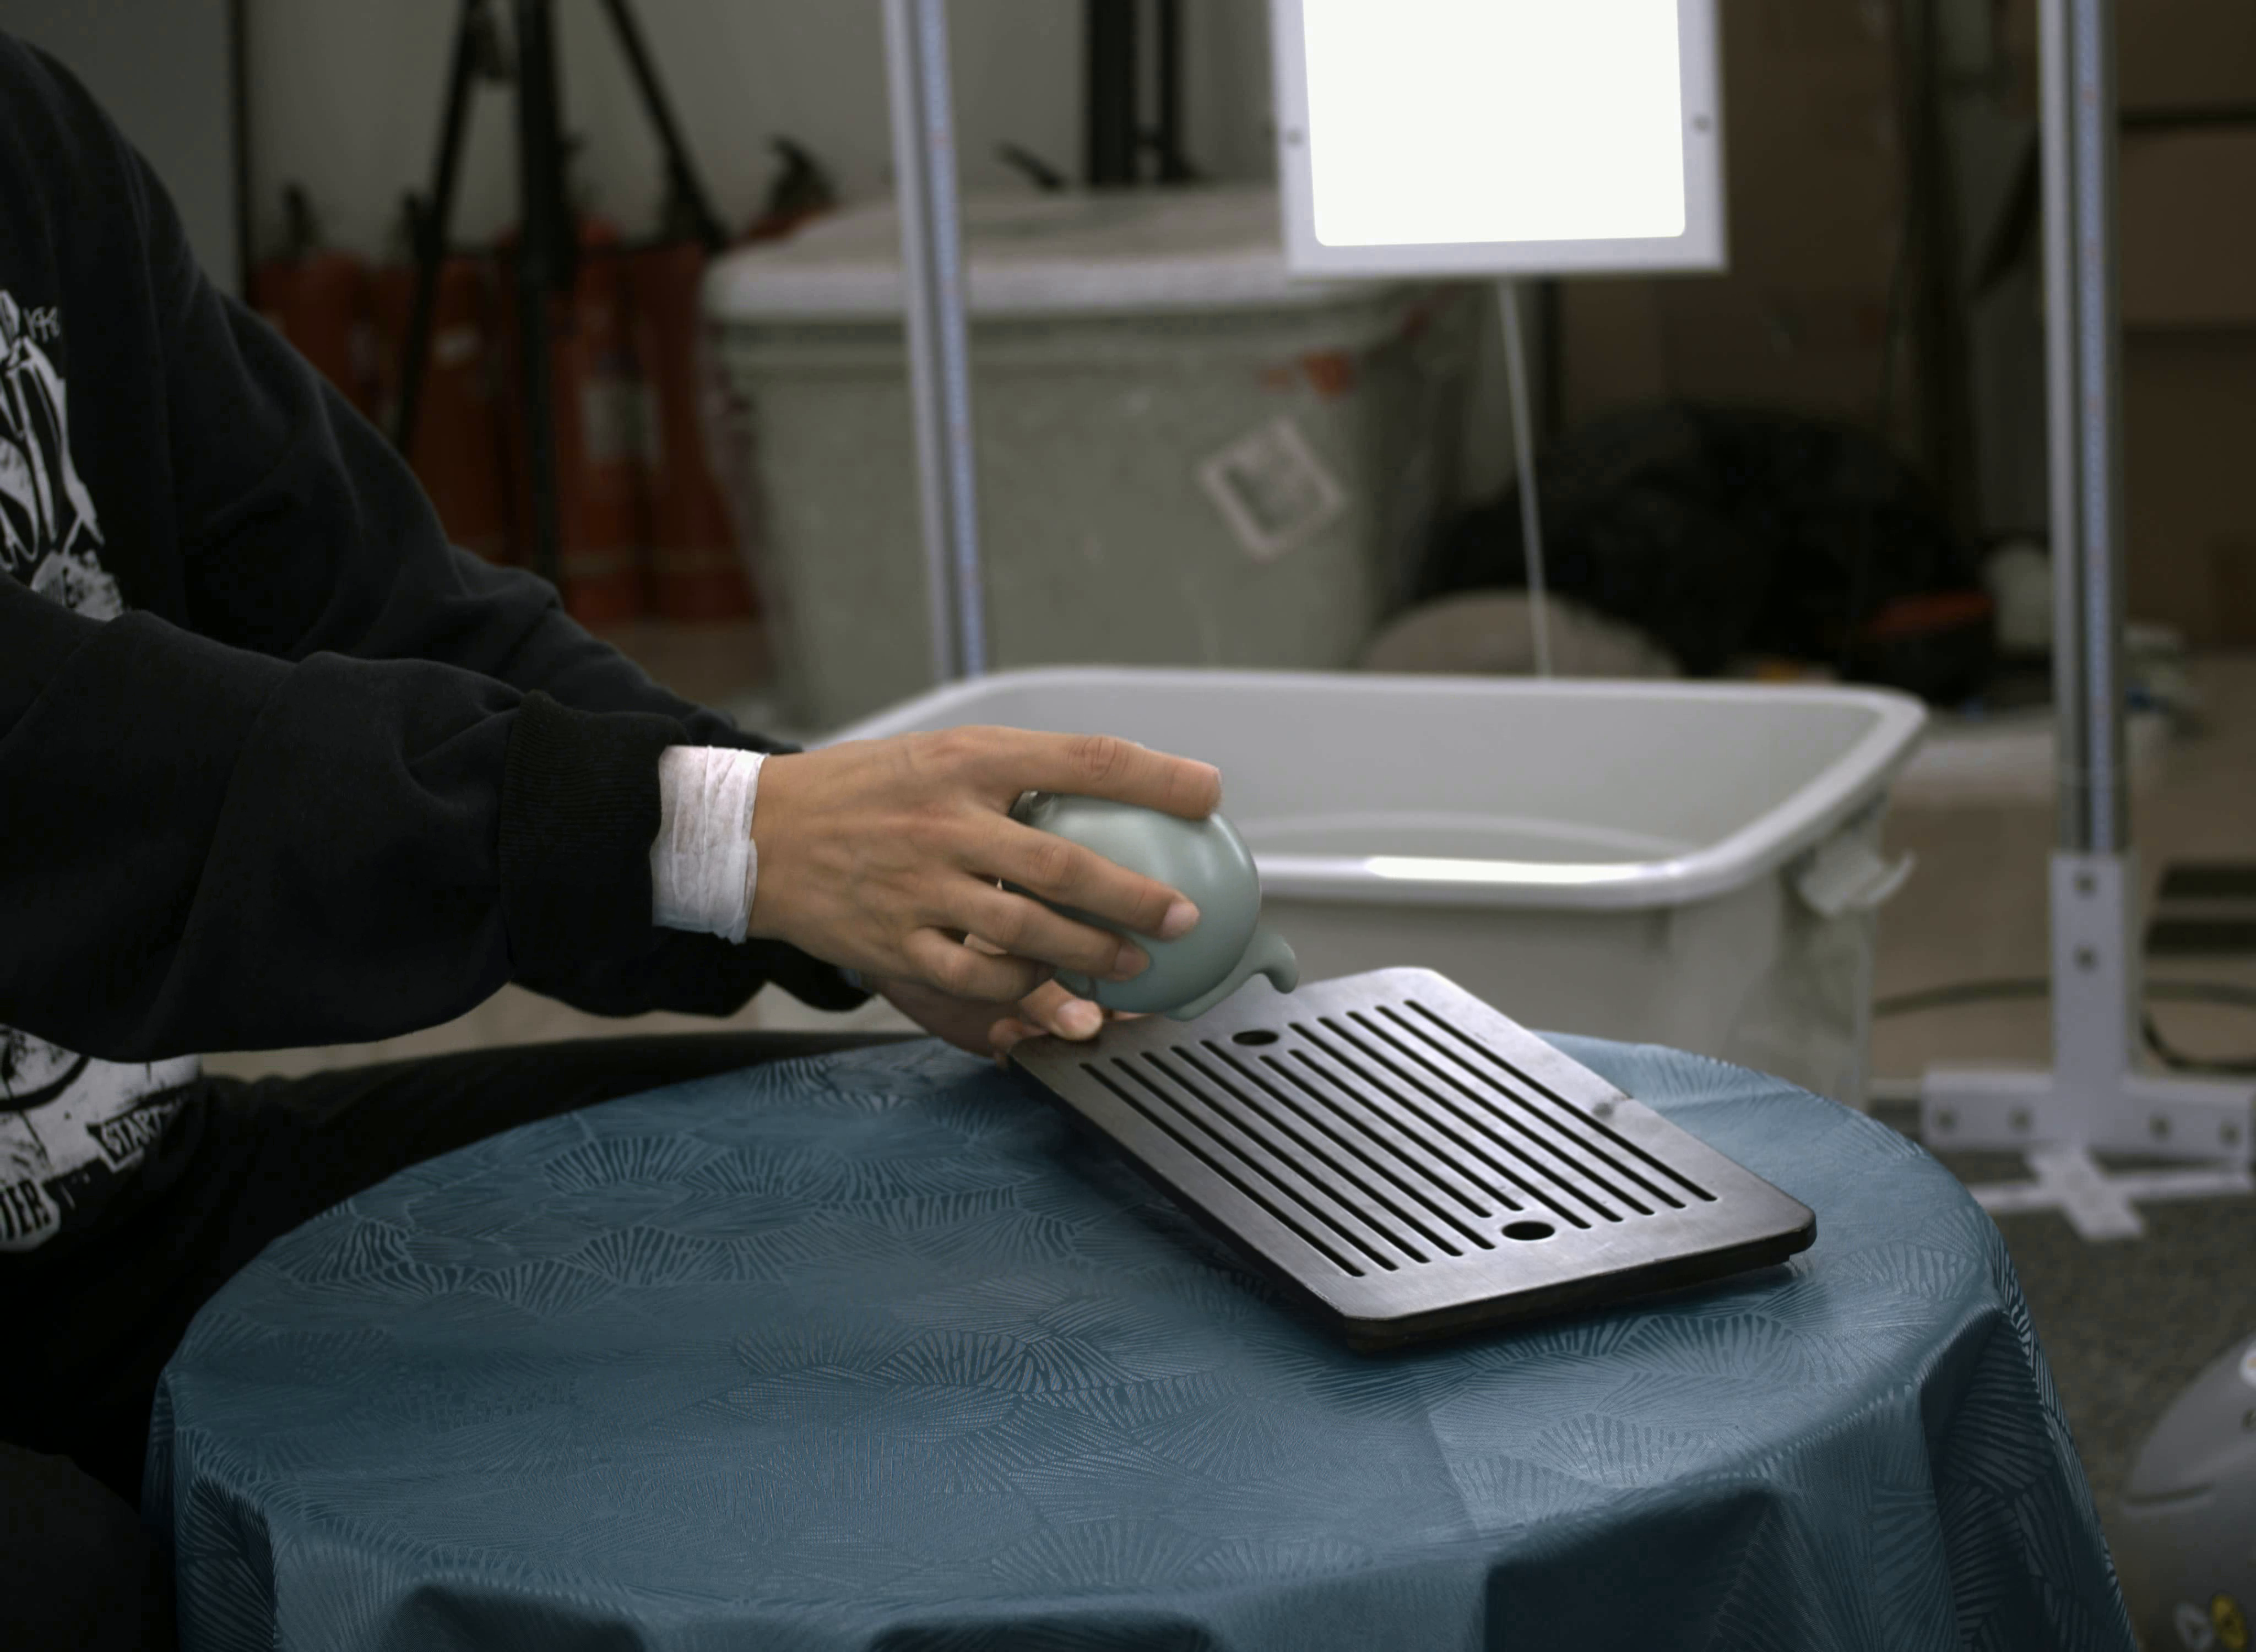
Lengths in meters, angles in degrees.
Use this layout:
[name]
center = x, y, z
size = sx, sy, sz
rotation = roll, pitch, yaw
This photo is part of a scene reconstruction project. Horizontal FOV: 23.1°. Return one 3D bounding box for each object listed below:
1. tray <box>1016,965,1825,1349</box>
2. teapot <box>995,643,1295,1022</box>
[tray]
center = 0.093, 0.109, 1.863
size = 0.167, 0.019, 0.310
rotation = -11, 18, -20
[teapot]
center = 0.000, 0.016, 1.764
size = 0.074, 0.143, 0.090
rotation = -38, 27, -19
